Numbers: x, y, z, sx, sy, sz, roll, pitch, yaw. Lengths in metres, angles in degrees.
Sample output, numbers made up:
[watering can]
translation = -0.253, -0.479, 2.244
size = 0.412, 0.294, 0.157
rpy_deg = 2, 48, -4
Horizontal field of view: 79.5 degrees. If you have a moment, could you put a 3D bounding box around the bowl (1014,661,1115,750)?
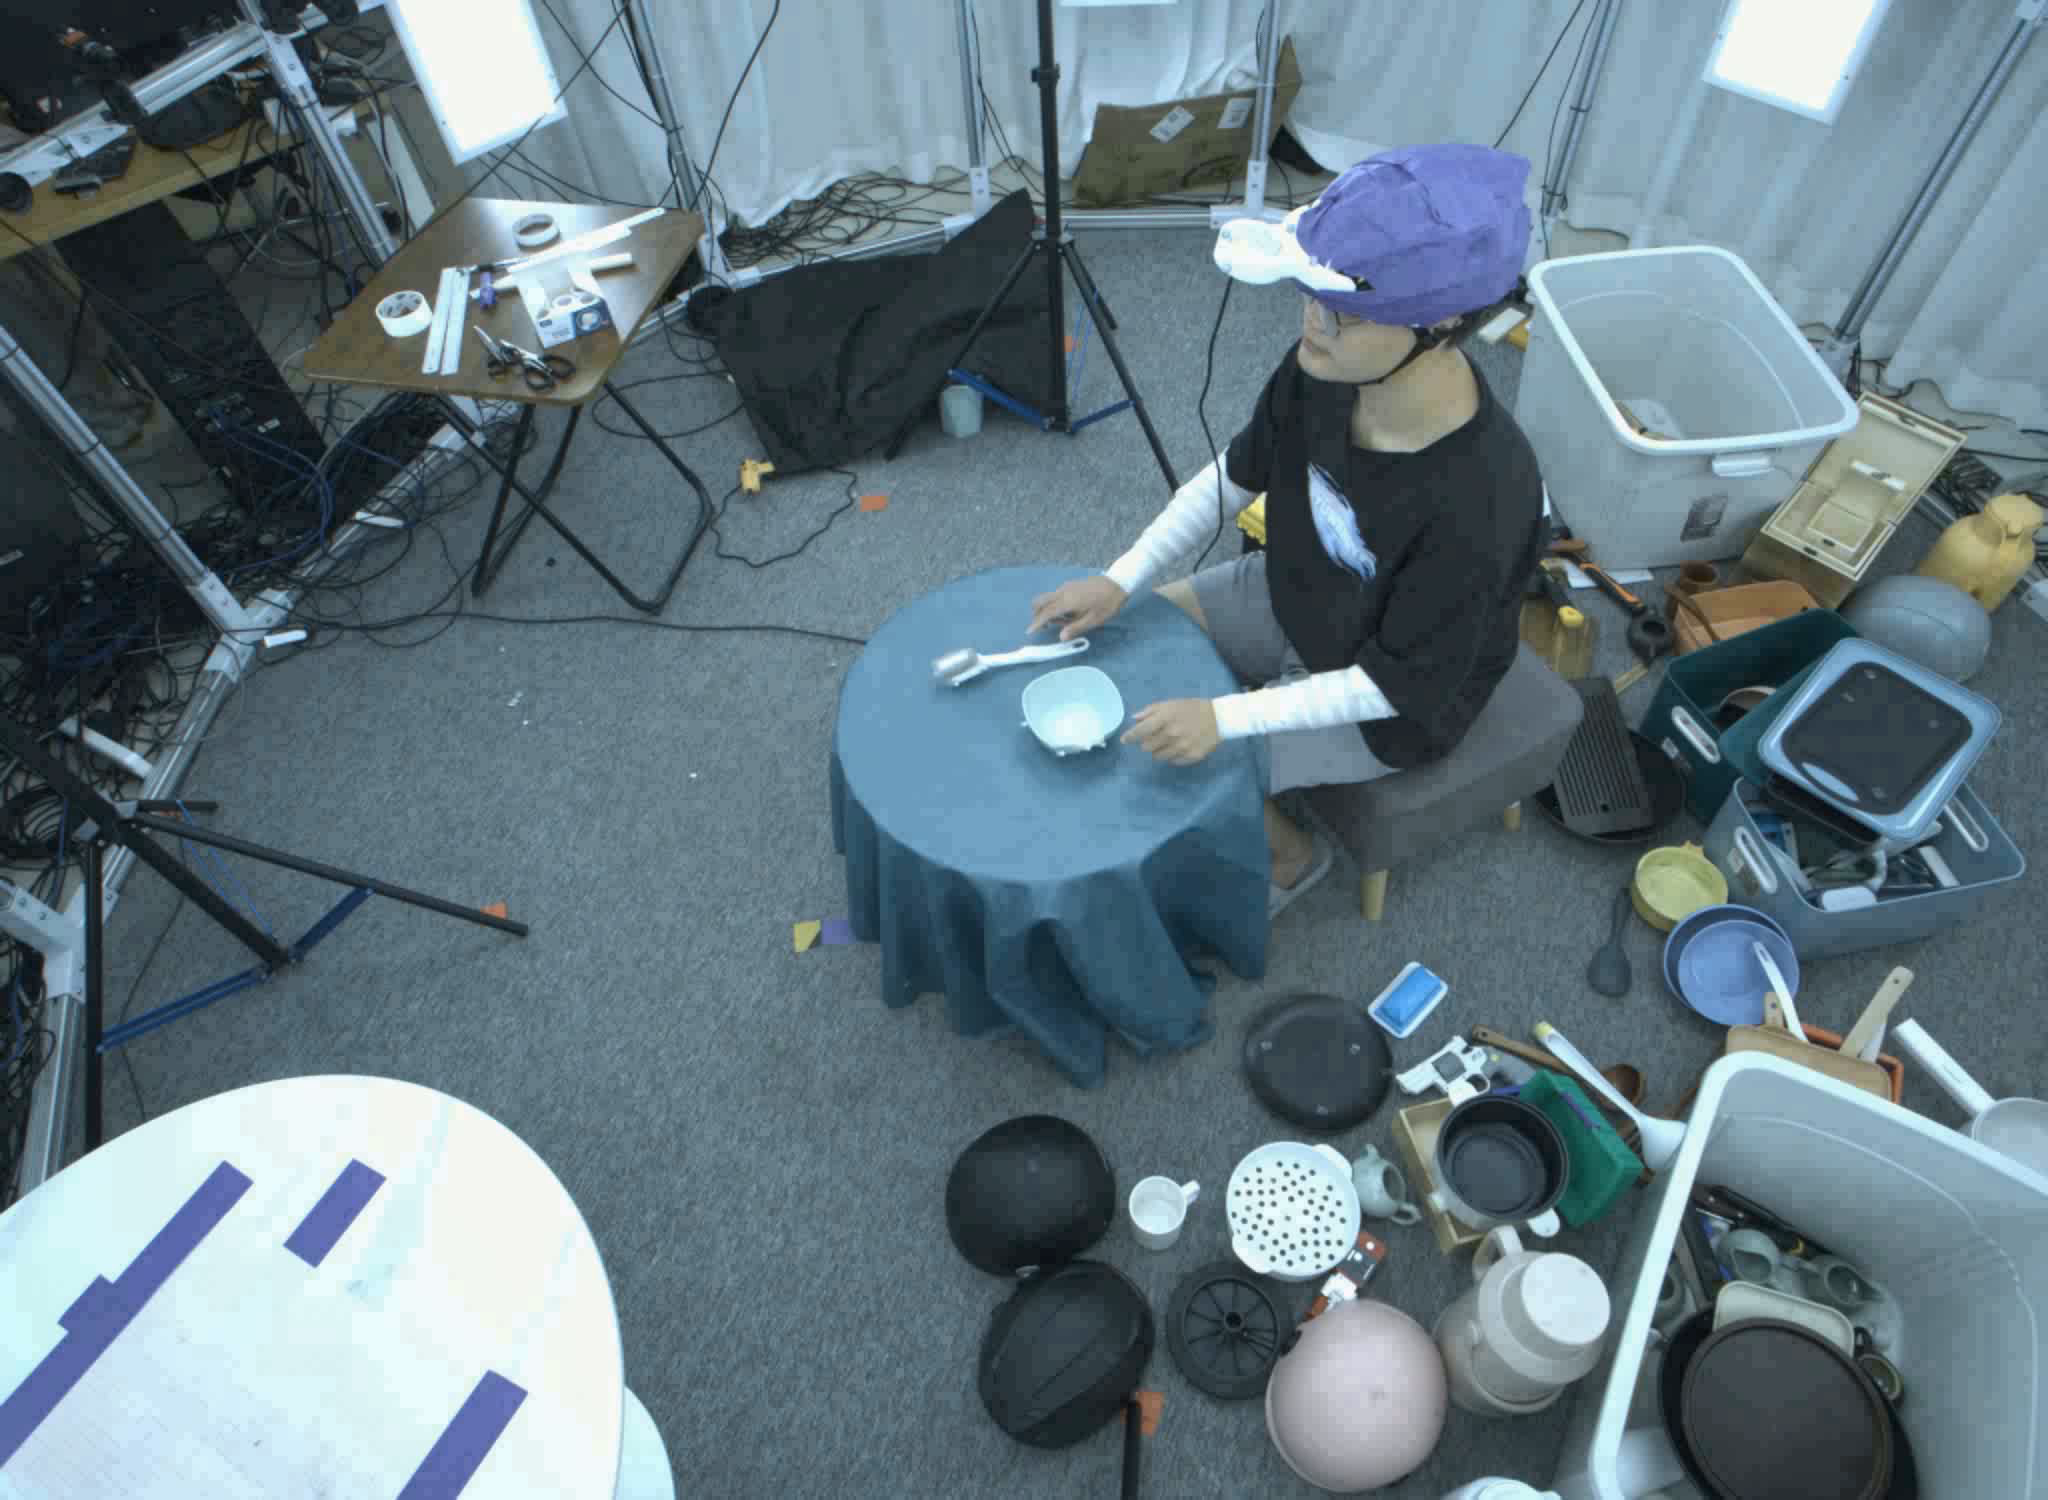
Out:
[bowl]
translation = 0.059, -0.053, 1.776
size = 0.151, 0.059, 0.150
rpy_deg = -1, 58, 3

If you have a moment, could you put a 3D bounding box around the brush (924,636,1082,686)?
[brush]
translation = -0.031, -0.148, 1.854
size = 0.245, 0.051, 0.034
rpy_deg = -15, 55, -7
